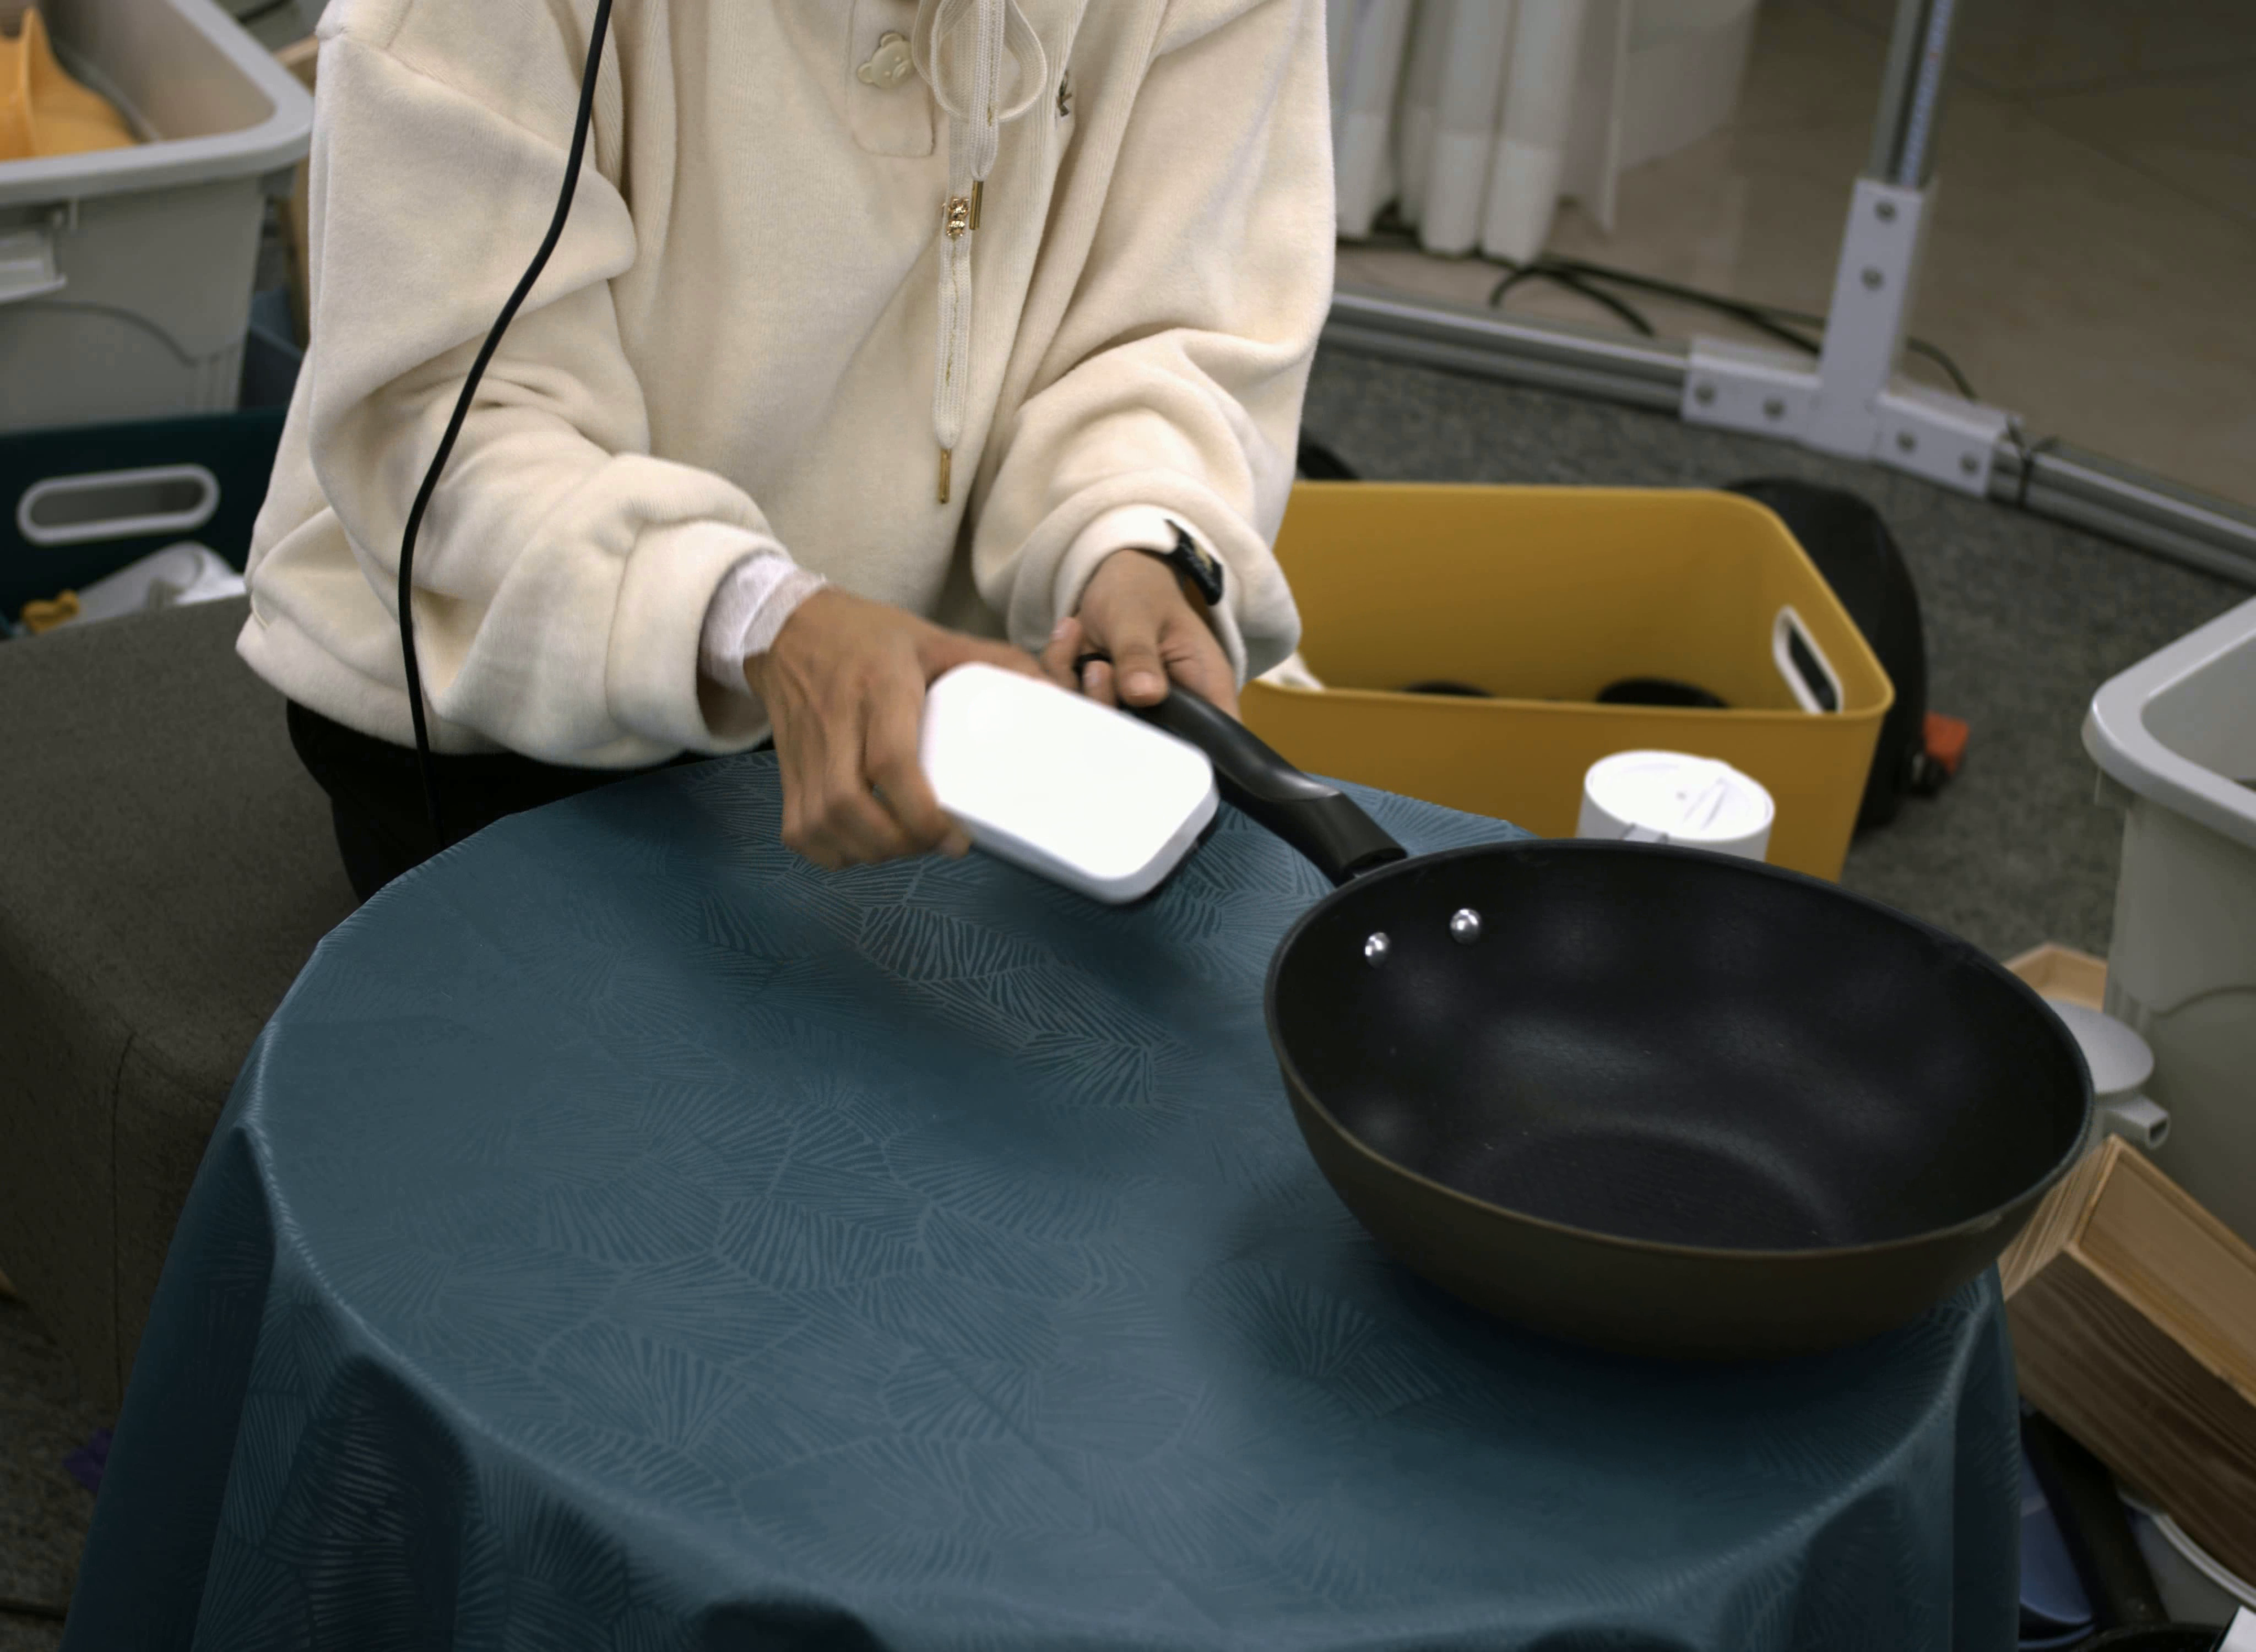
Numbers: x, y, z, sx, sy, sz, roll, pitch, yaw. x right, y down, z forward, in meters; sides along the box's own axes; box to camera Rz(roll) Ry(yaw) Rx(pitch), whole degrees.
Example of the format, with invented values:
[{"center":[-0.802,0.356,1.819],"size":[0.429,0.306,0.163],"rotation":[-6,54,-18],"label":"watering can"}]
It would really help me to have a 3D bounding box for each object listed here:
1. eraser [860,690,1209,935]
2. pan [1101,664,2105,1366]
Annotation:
[{"center":[-0.032,-0.008,1.863],"size":[0.132,0.034,0.063],"rotation":[24,59,39],"label":"eraser"},{"center":[0.126,0.067,1.851],"size":[0.286,0.086,0.467],"rotation":[-13,32,-35],"label":"pan"}]
